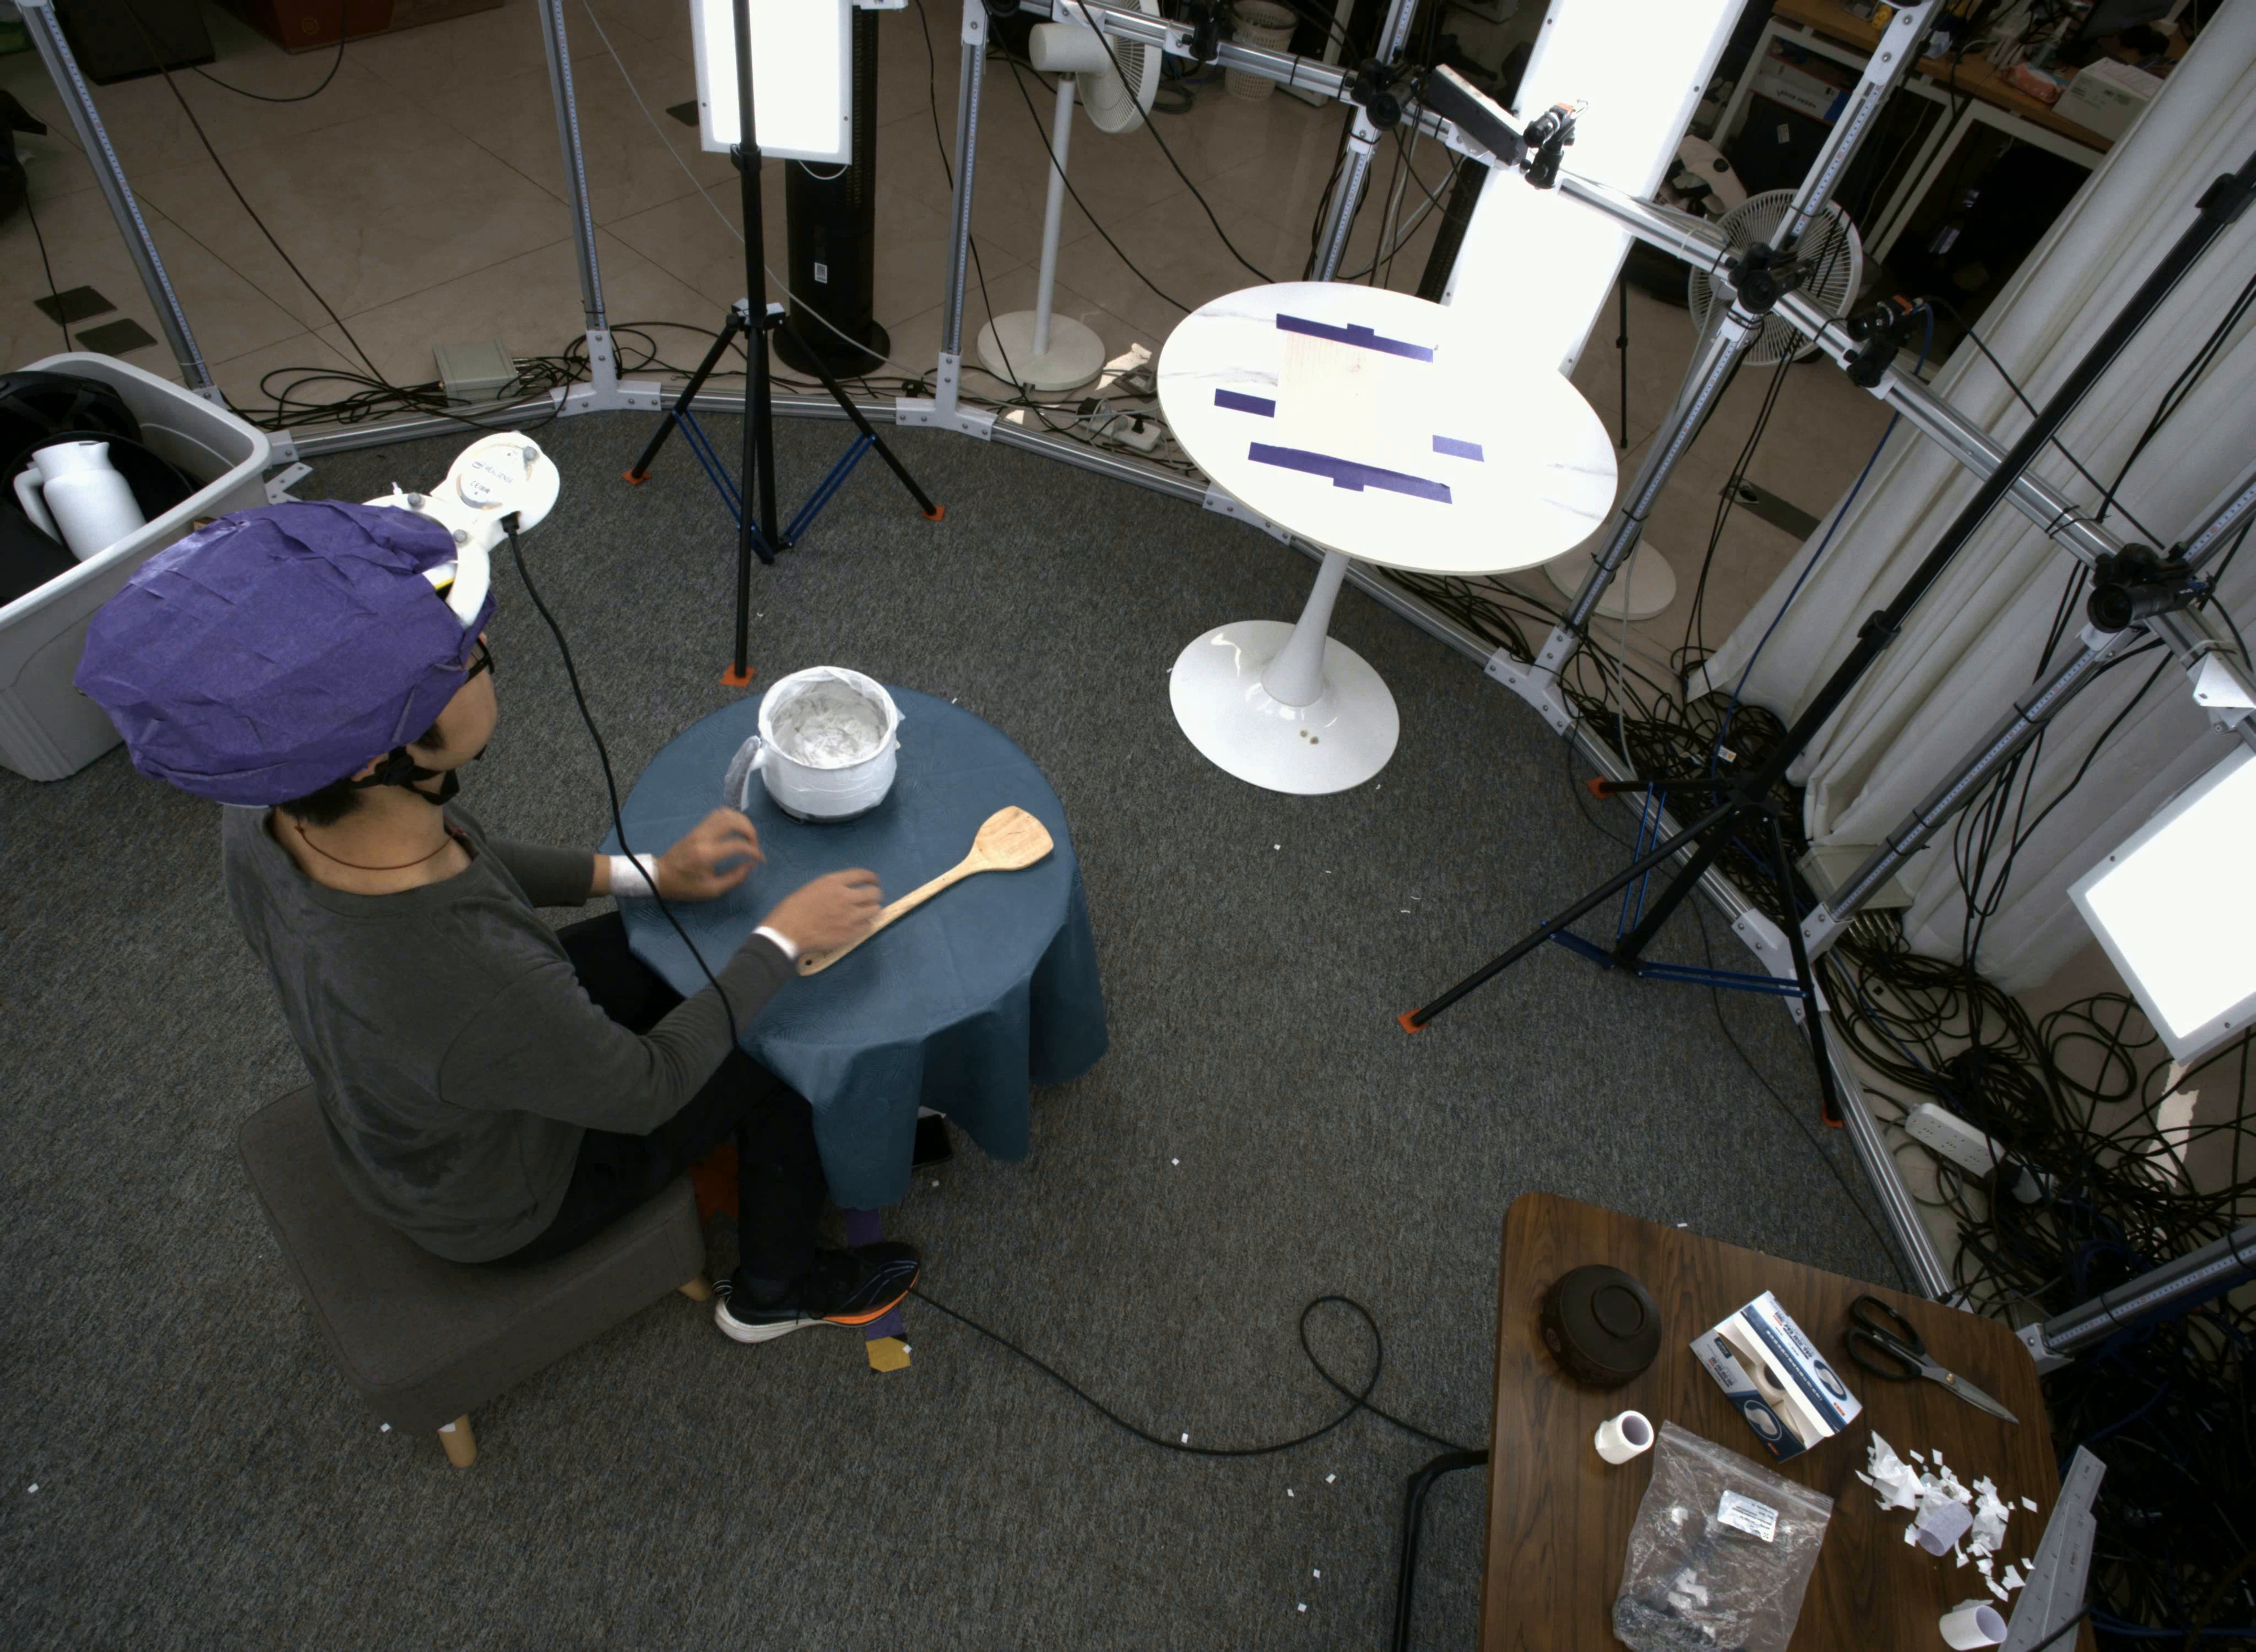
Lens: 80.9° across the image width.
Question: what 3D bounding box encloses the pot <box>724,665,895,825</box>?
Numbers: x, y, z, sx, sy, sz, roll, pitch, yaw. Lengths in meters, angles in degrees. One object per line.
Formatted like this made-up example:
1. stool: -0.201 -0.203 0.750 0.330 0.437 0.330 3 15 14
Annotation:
1. pot: -0.423 -0.094 1.716 0.235 0.139 0.174 -24 62 -28

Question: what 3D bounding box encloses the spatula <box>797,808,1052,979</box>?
1. spatula: -0.264 0.091 1.698 0.392 0.019 0.093 -33 66 -32
